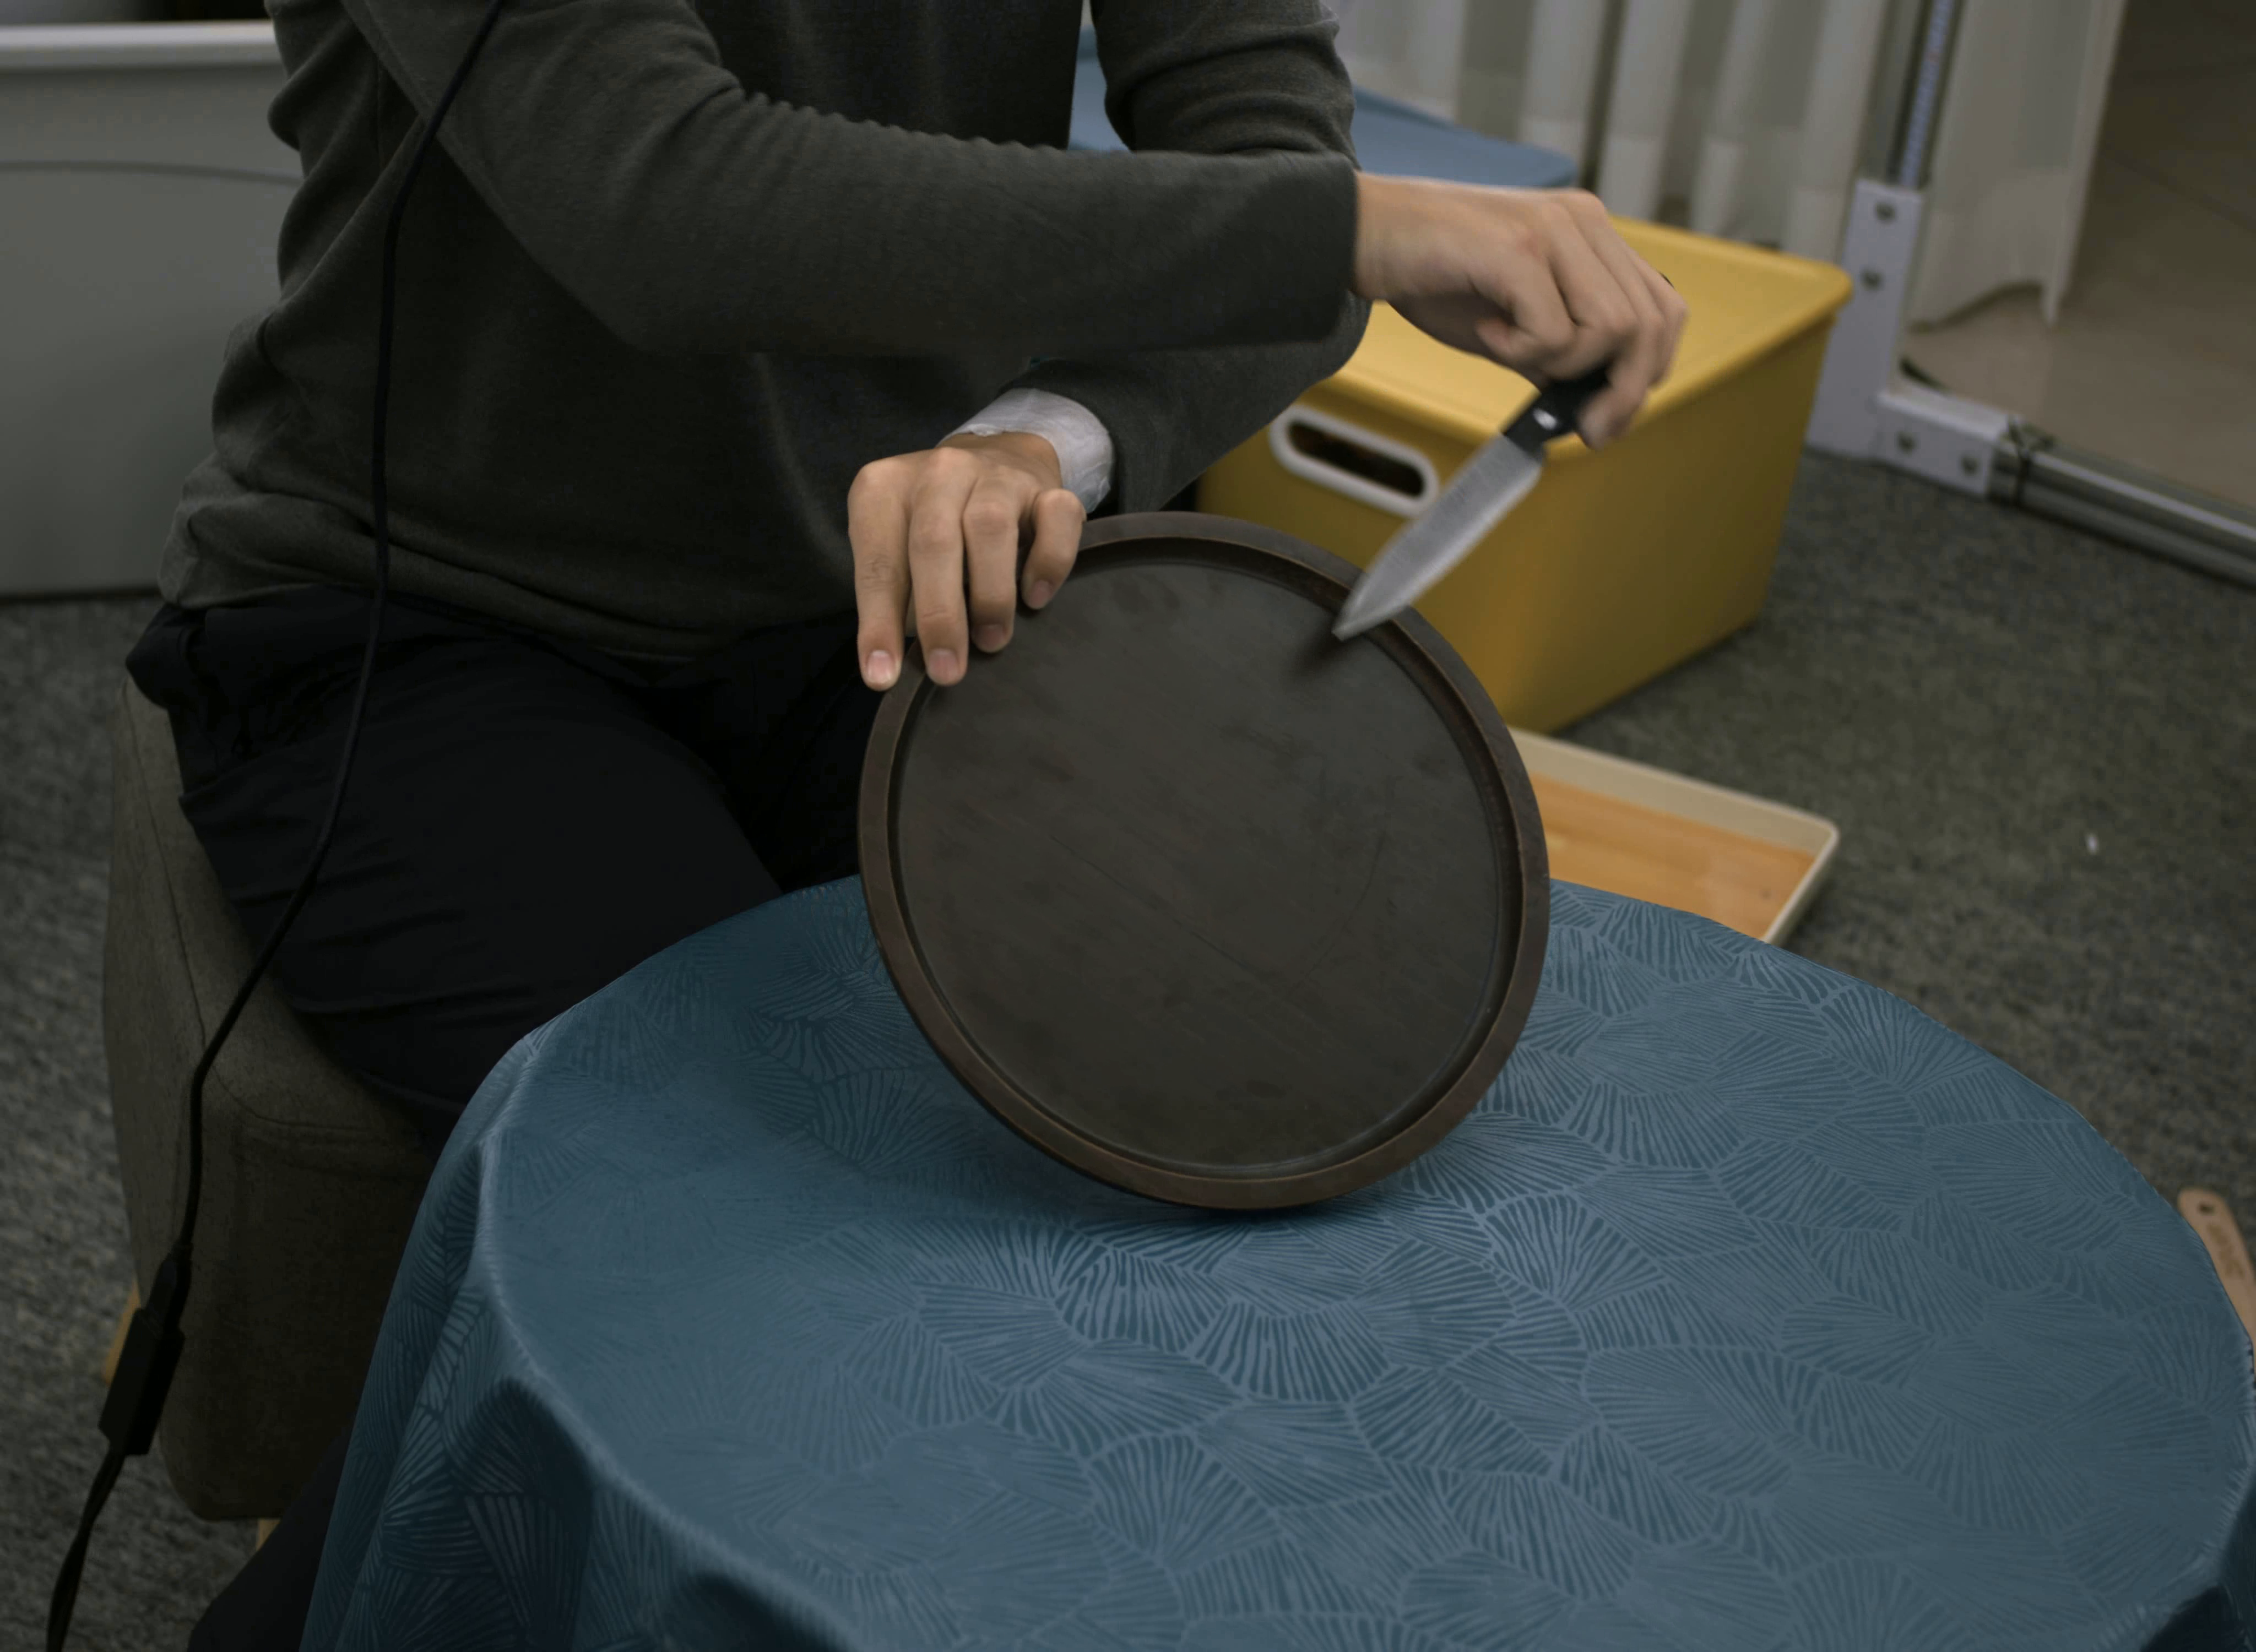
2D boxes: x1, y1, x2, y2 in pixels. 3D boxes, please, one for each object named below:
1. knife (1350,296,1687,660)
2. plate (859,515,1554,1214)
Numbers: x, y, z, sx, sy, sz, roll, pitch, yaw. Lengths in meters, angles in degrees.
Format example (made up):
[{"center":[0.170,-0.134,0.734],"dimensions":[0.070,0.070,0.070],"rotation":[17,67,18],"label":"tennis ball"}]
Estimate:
[{"center":[0.139,-0.128,1.928],"dimensions":[0.024,0.016,0.238],"rotation":[48,51,-6],"label":"knife"},{"center":[0.027,0.013,1.839],"dimensions":[0.253,0.029,0.256],"rotation":[7,68,-18],"label":"plate"}]
